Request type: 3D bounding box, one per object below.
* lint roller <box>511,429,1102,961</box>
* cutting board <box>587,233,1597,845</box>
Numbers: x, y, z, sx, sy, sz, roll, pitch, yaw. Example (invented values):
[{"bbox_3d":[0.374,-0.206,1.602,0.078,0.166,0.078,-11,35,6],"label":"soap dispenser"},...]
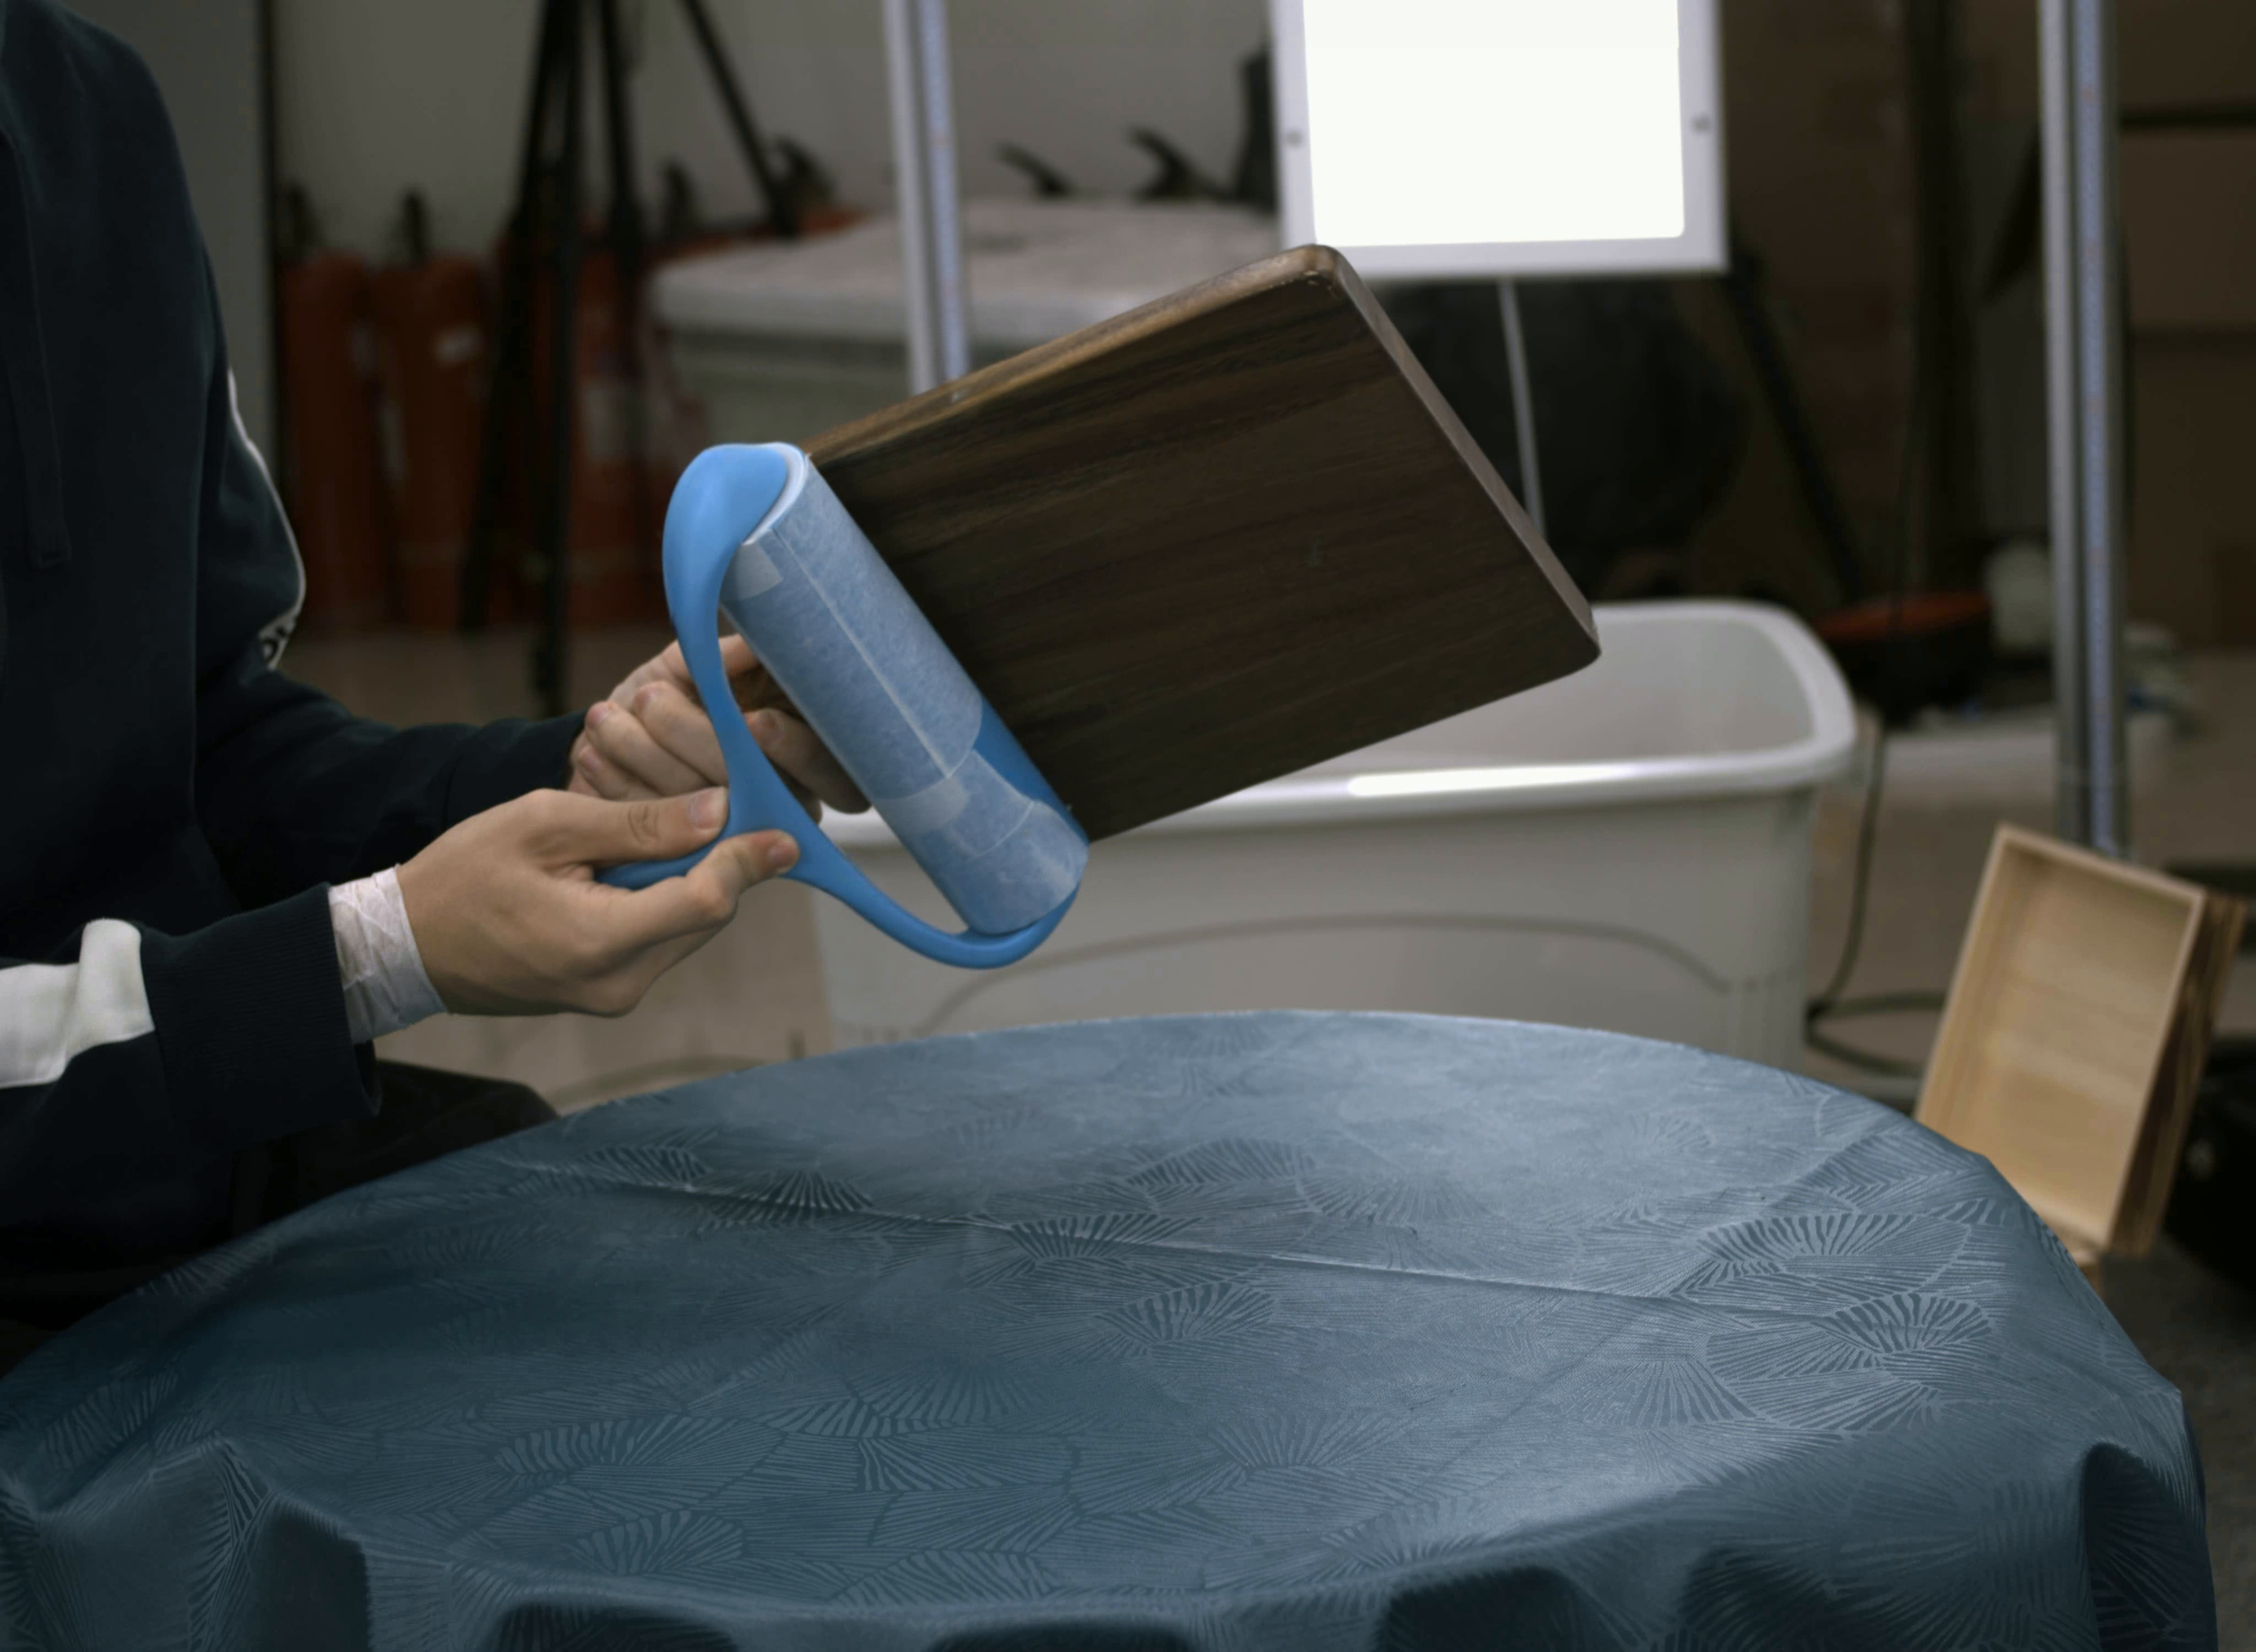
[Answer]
[{"bbox_3d":[-0.126,-0.010,1.861,0.181,0.226,0.068,-38,35,5],"label":"lint roller"},{"bbox_3d":[-0.036,-0.071,1.877,0.358,0.199,0.023,-19,38,27],"label":"cutting board"}]
